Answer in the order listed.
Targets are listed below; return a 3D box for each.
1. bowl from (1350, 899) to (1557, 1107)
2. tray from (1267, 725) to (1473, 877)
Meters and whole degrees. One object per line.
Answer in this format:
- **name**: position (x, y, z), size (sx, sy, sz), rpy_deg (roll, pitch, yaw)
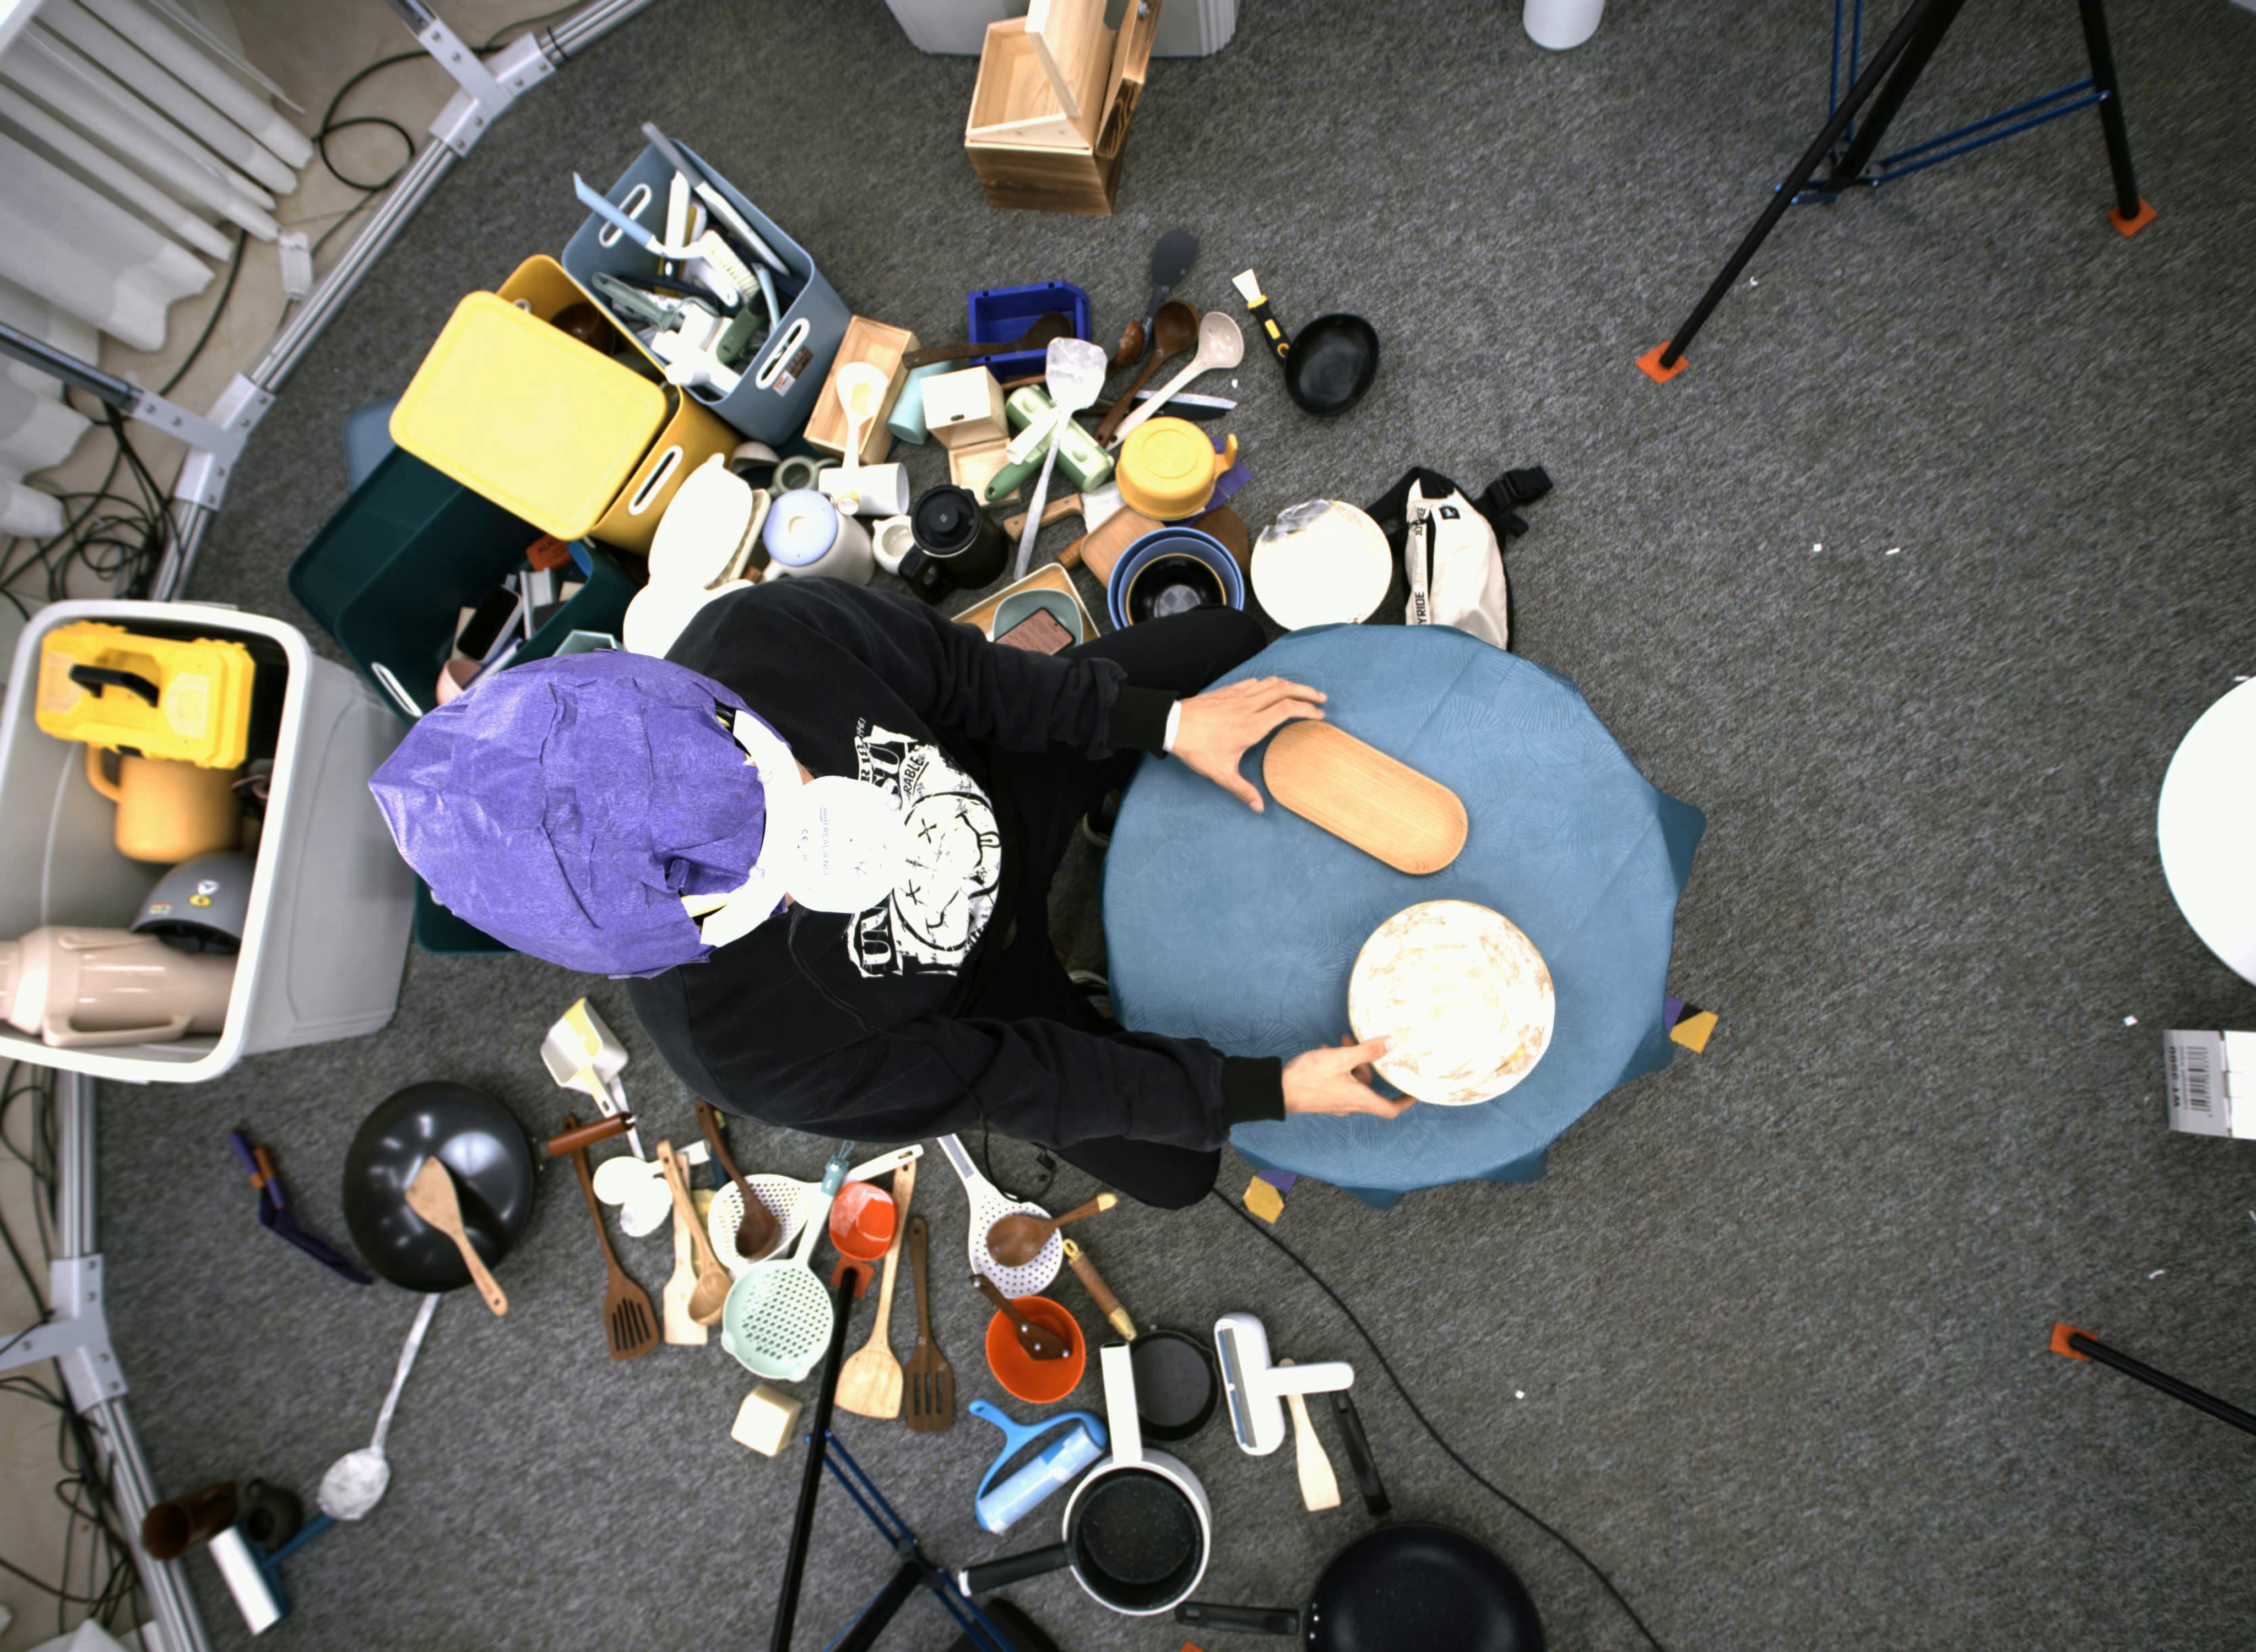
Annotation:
- **bowl**: position (0.325, 0.173, 1.400), size (0.215, 0.094, 0.214), rpy_deg (-1, 87, 10)
- **tray**: position (0.256, -0.028, 1.466), size (0.231, 0.020, 0.102), rpy_deg (28, 94, 9)
